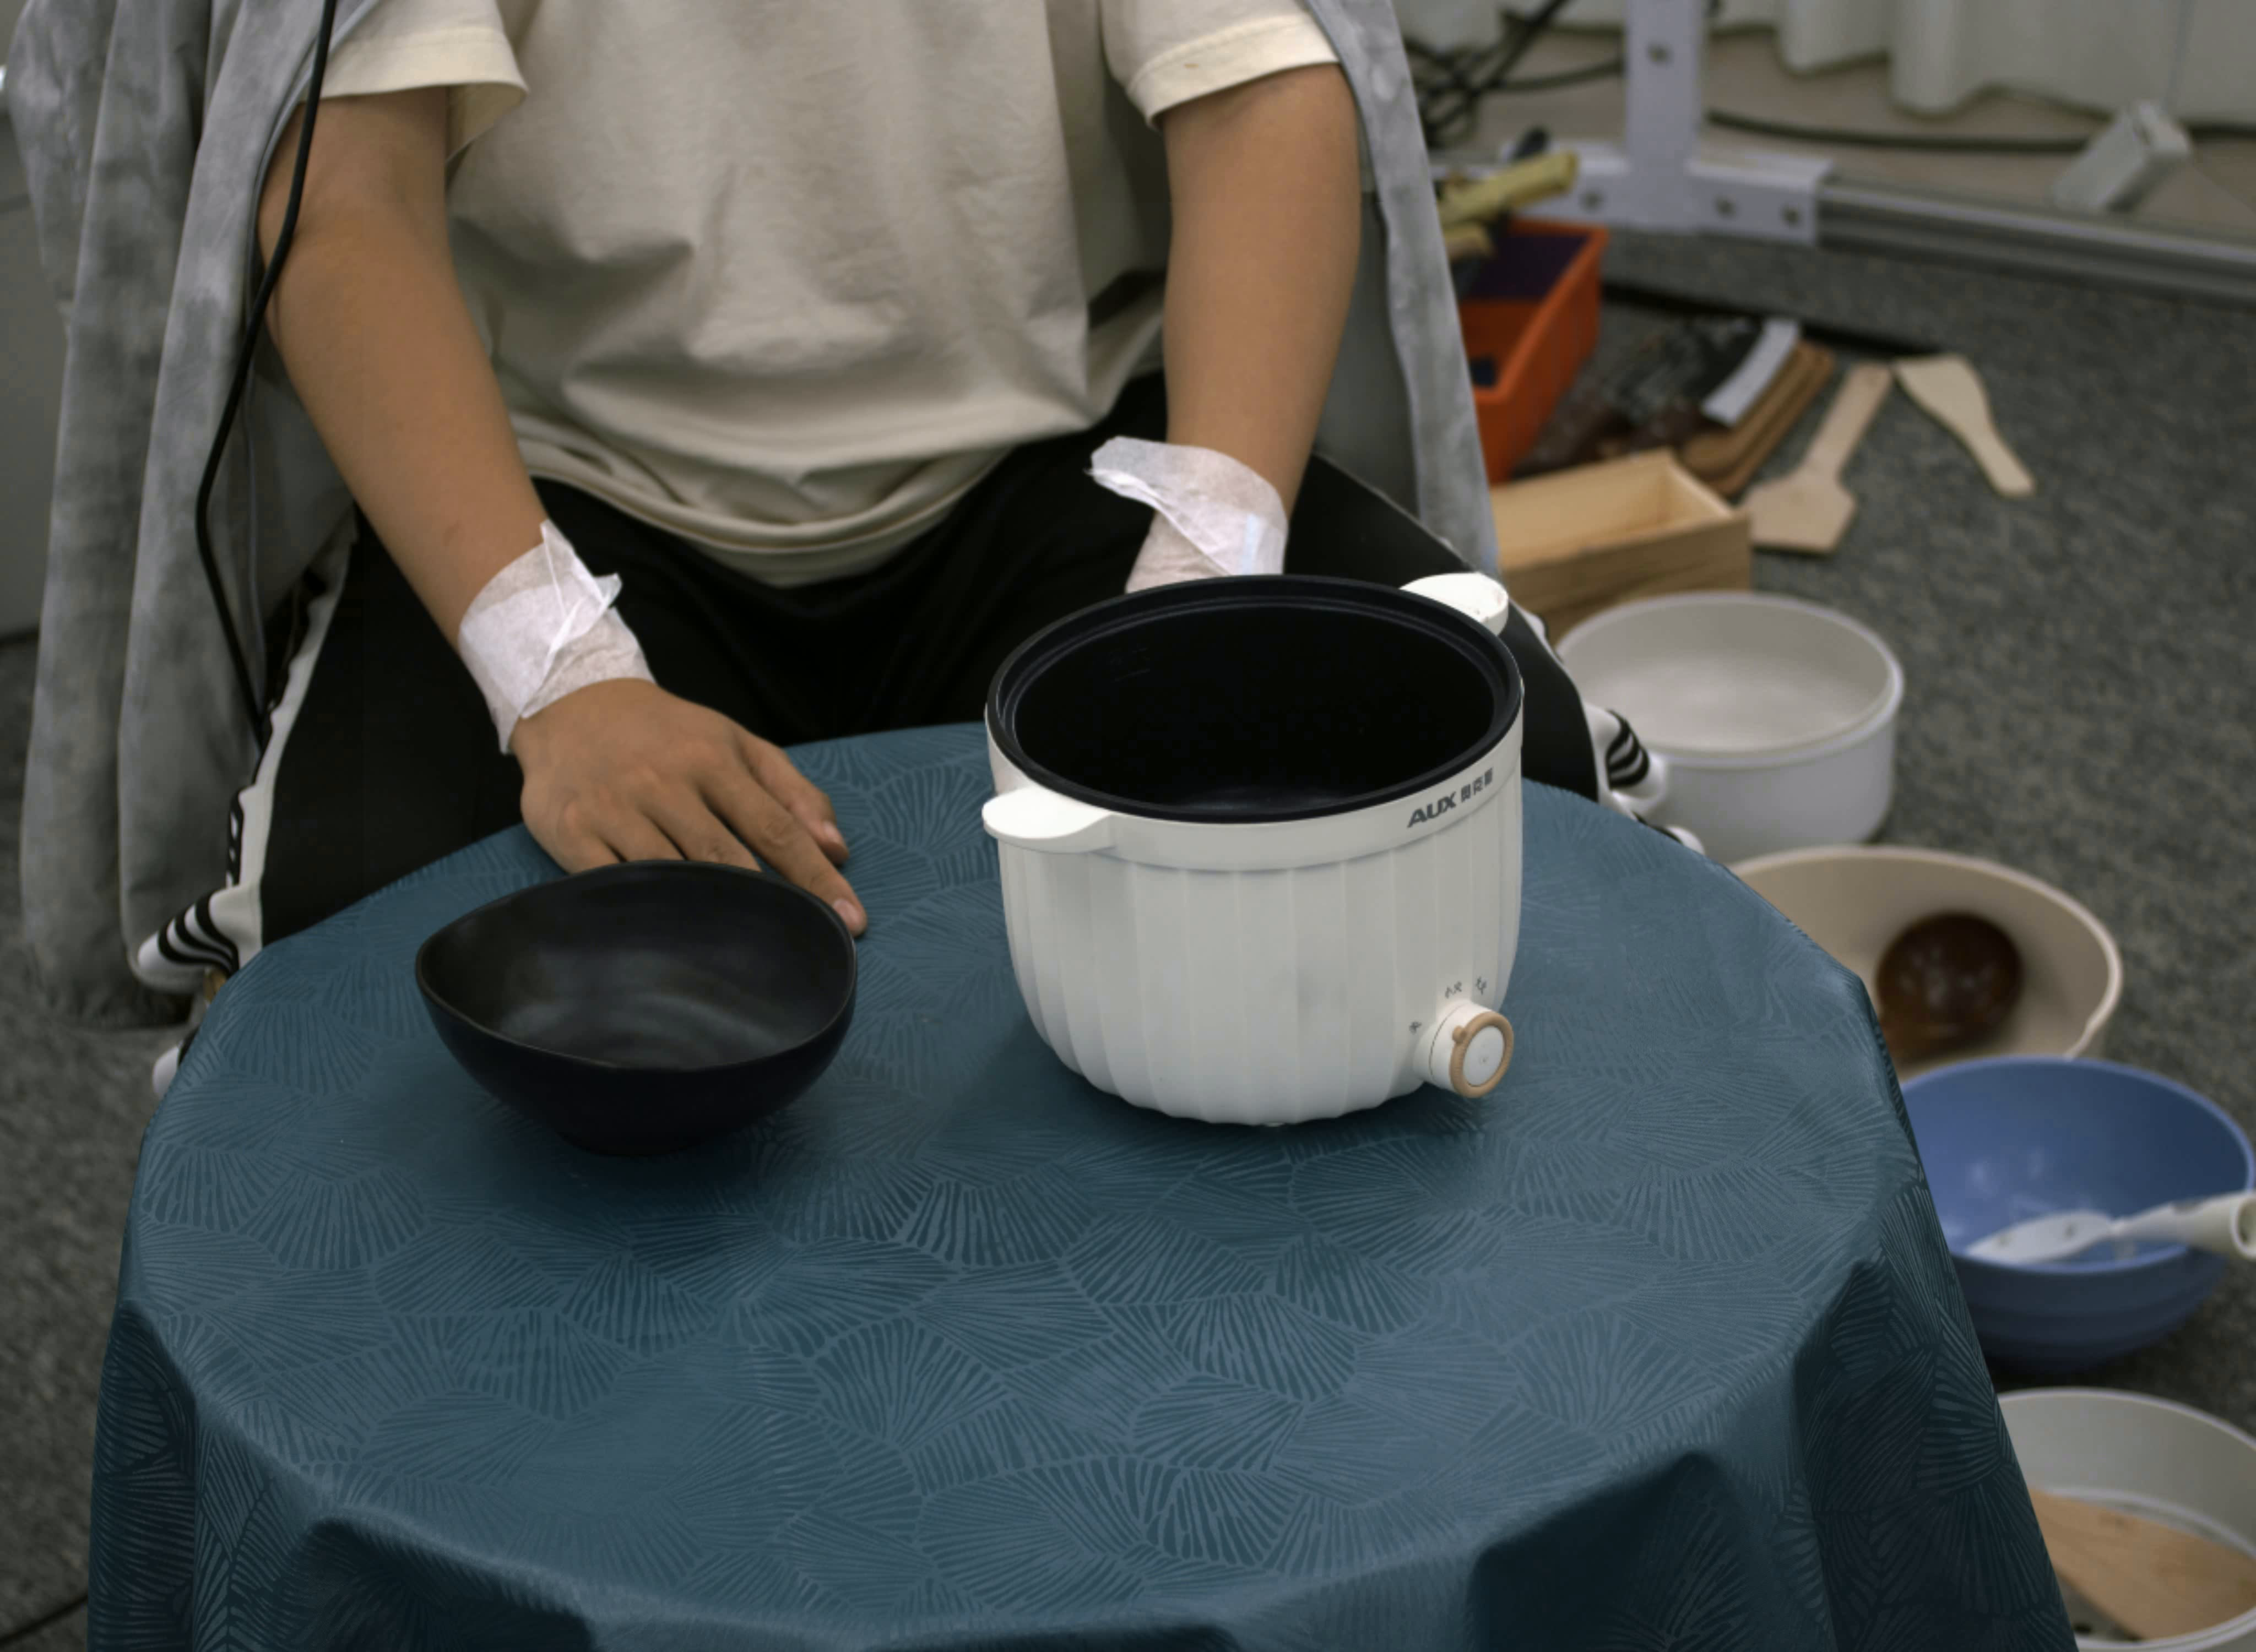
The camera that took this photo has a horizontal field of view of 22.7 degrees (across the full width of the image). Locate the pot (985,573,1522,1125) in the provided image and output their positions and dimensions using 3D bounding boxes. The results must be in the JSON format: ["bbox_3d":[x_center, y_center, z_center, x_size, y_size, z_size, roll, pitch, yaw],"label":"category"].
[{"bbox_3d":[0.050,0.013,1.916,0.190,0.141,0.243,17,34,41],"label":"pot"}]

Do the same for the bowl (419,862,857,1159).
[{"bbox_3d":[-0.166,0.071,1.906,0.170,0.066,0.139,20,34,40],"label":"bowl"}]
